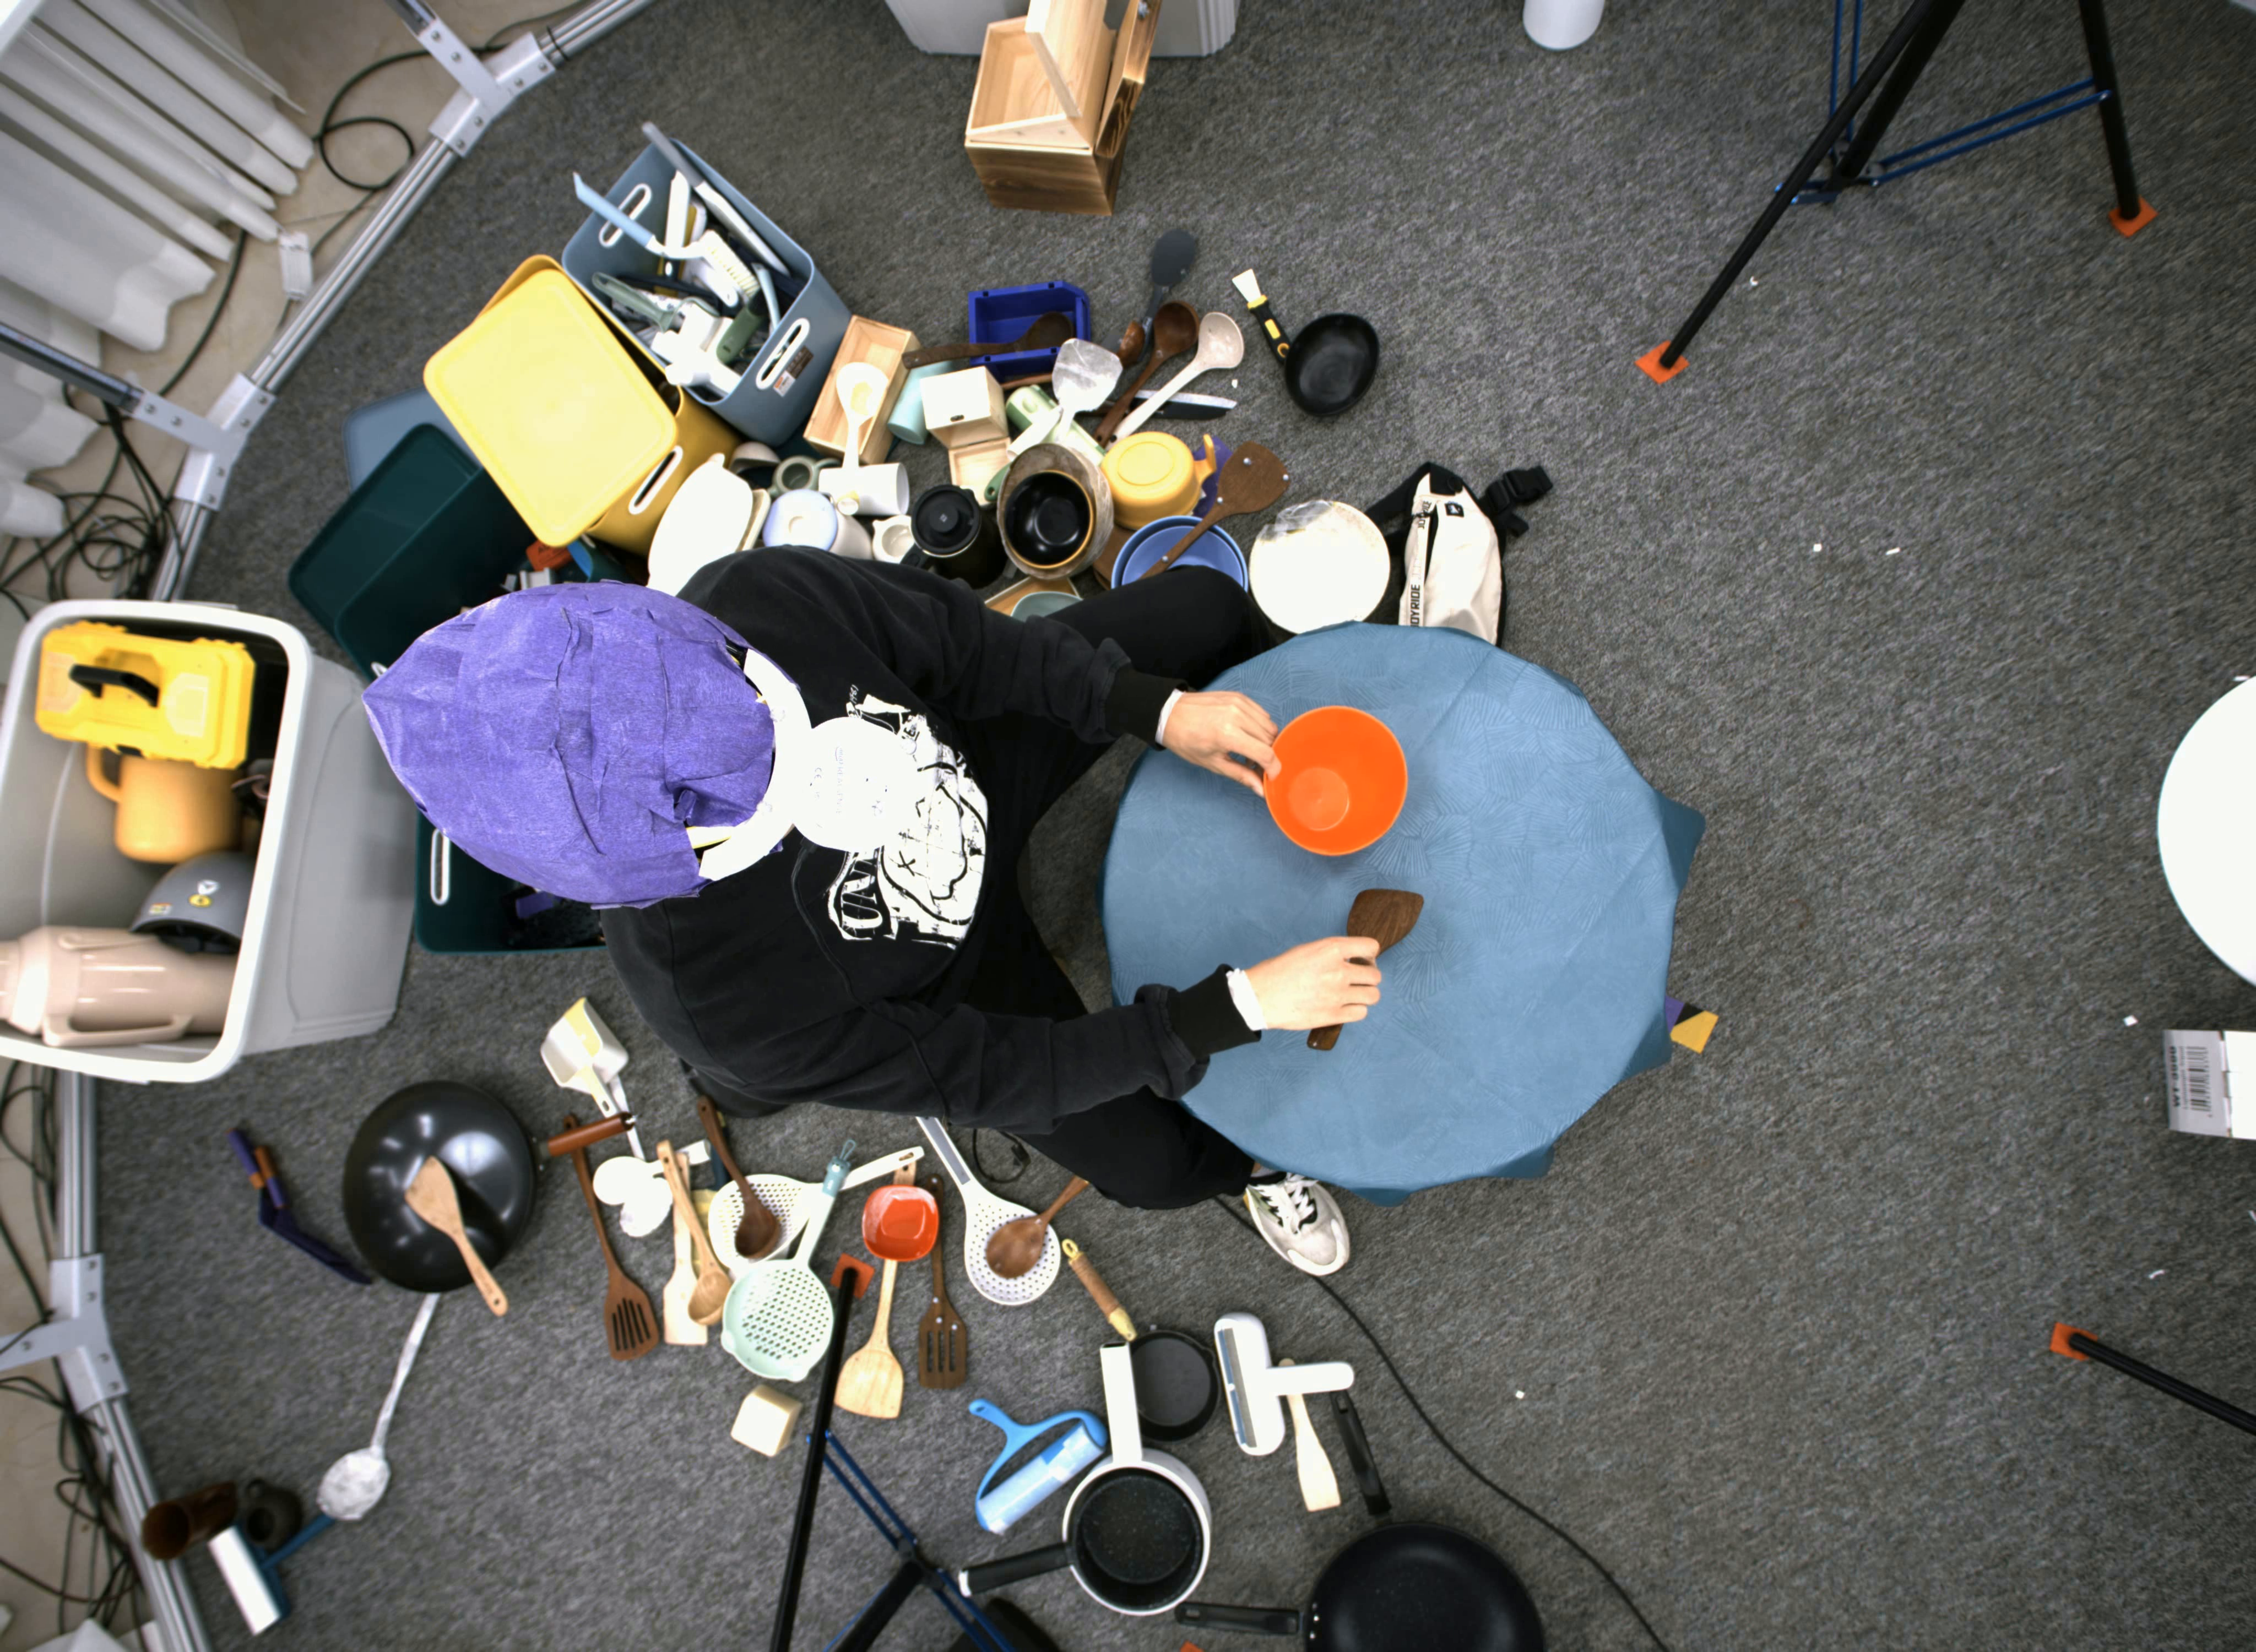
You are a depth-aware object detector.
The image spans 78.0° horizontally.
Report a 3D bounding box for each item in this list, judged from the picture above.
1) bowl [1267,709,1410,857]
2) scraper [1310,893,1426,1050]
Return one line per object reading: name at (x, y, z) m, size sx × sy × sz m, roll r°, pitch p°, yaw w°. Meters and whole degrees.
bowl at (0.209, -0.040, 1.425) m, size 0.148 × 0.105 × 0.147 m, roll 0°, pitch 87°, yaw -5°
scraper at (0.227, 0.139, 1.356) m, size 0.076 × 0.011 × 0.206 m, roll 3°, pitch 44°, yaw 36°
